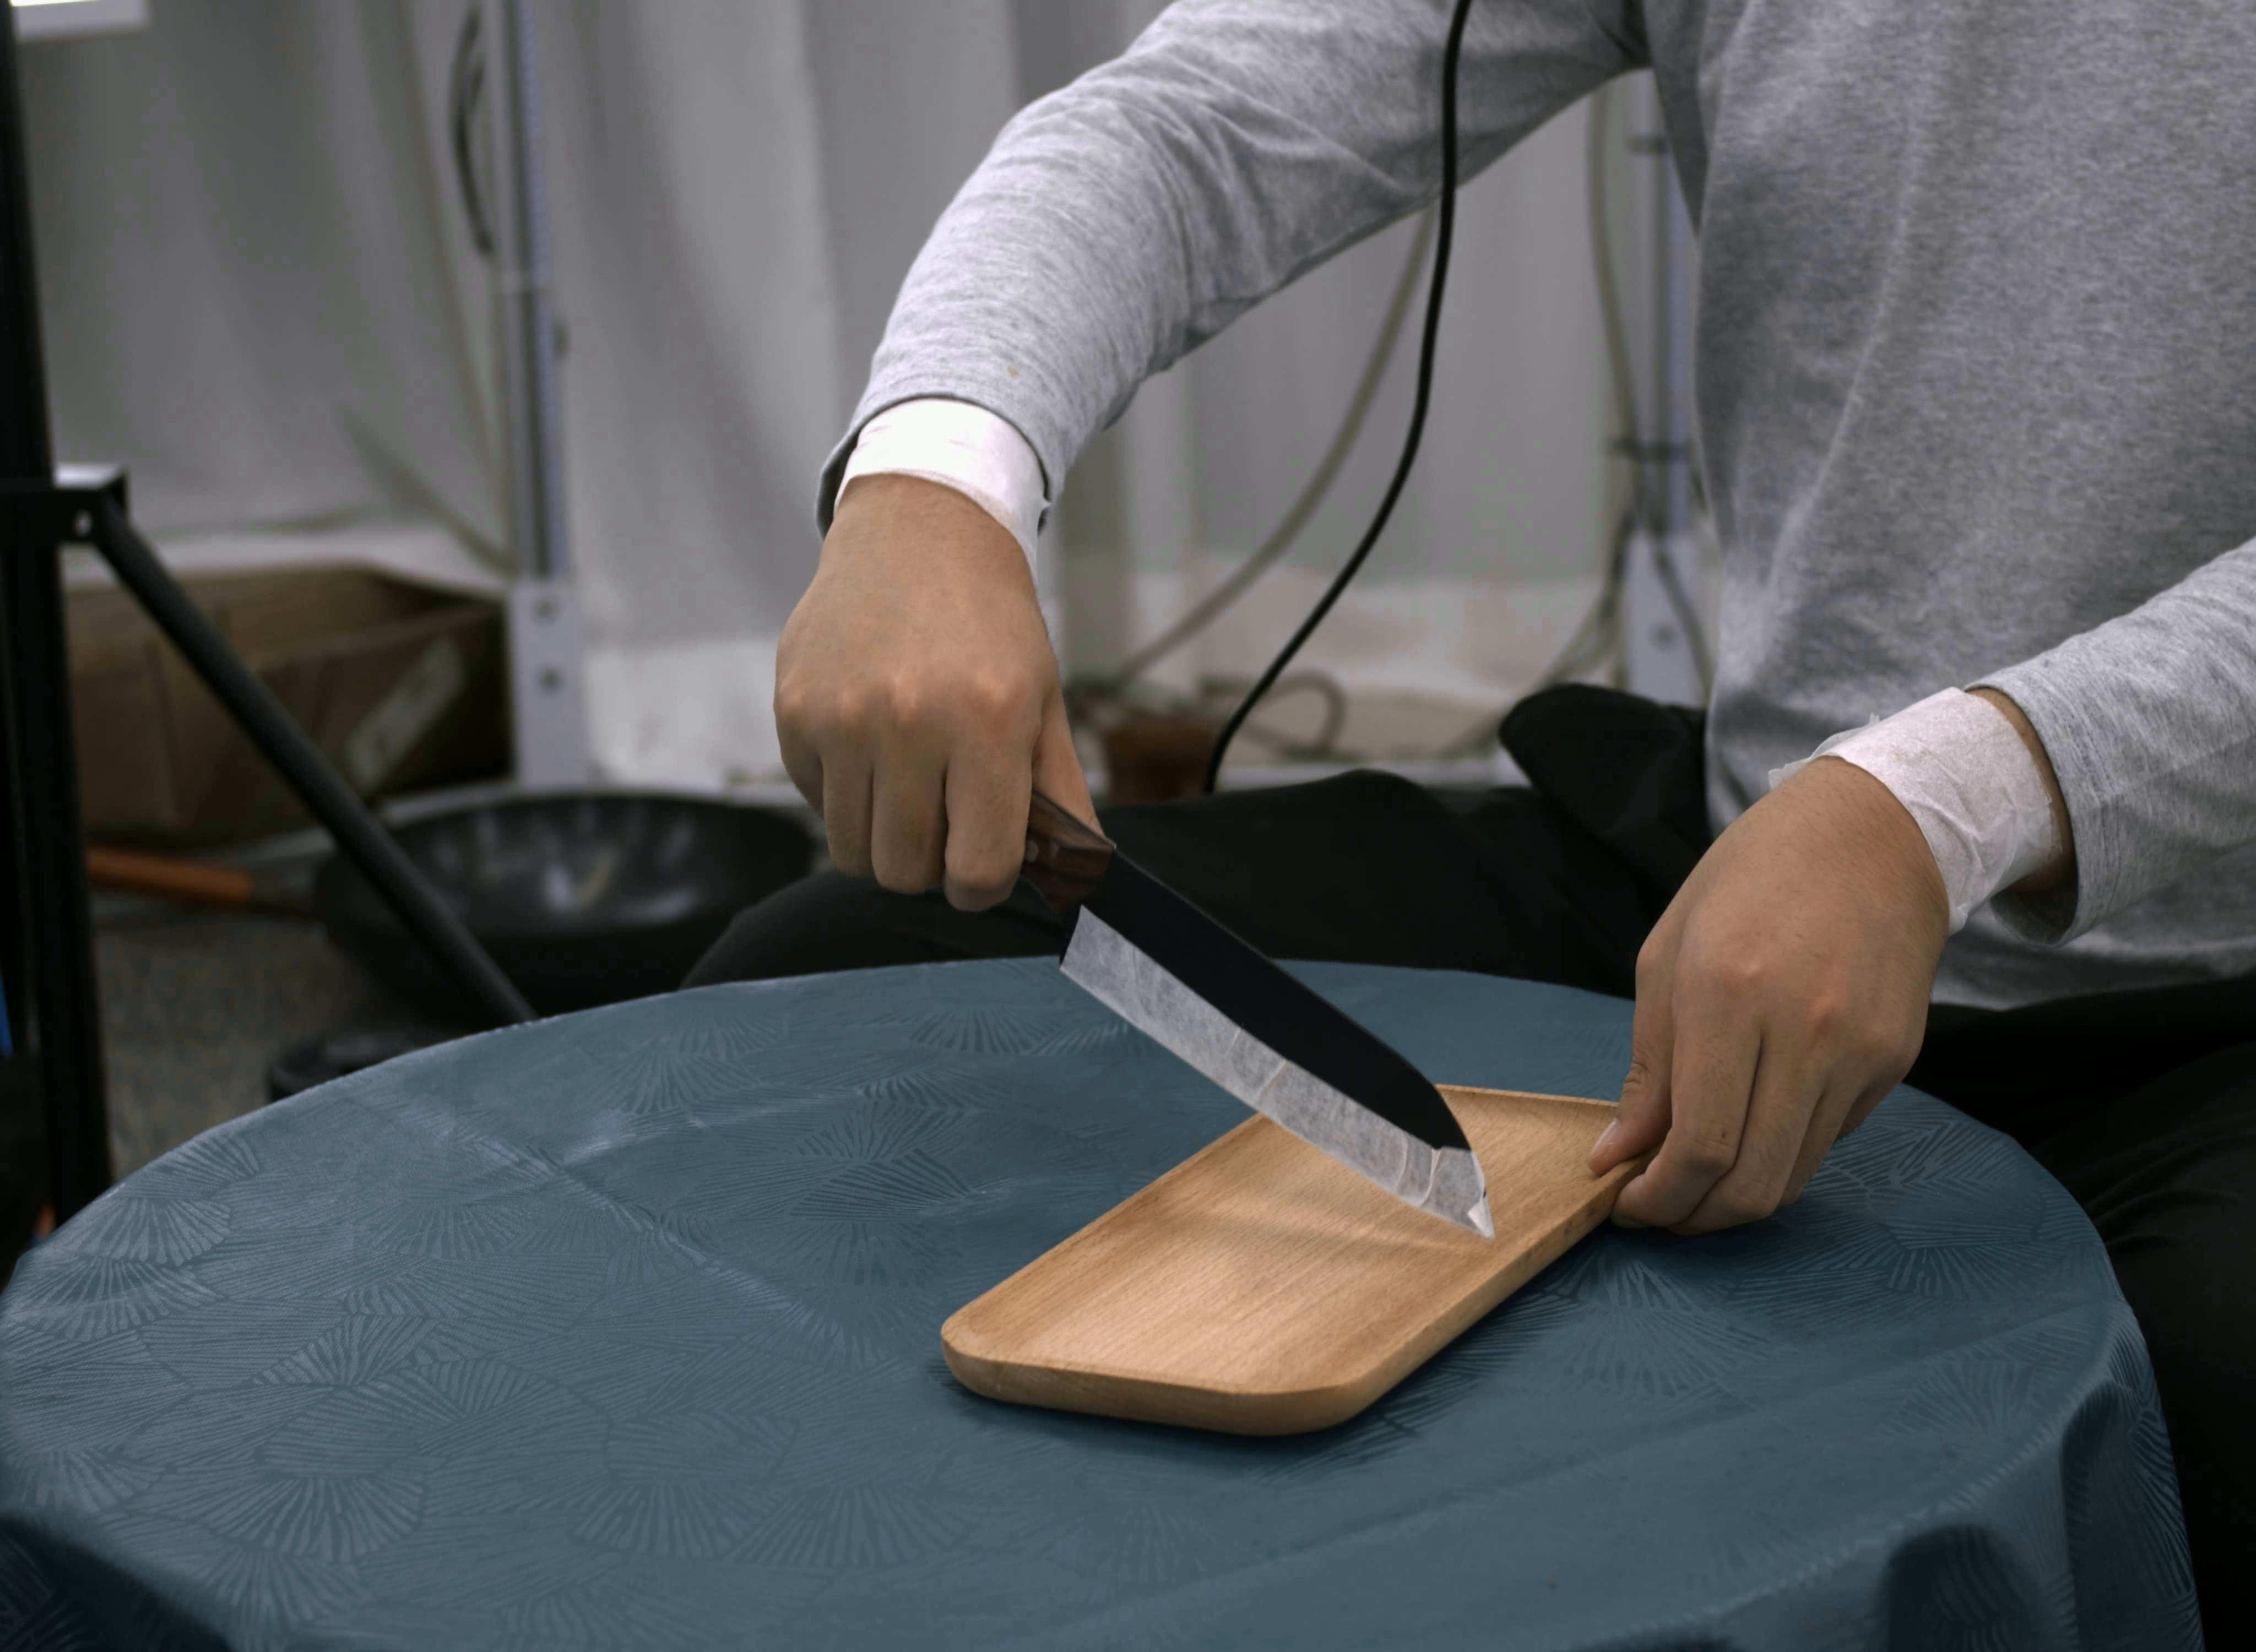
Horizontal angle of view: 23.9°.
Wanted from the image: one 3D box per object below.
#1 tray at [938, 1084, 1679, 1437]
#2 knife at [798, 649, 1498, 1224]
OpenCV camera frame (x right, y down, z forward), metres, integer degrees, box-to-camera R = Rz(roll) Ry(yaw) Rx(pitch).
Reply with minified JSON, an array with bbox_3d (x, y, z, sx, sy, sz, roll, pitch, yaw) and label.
[{"bbox_3d":[0.055,0.118,1.483,0.133,0.023,0.246,7,18,30],"label":"tray"},{"bbox_3d":[0.003,0.030,1.537,0.295,0.050,0.019,38,33,31],"label":"knife"}]
